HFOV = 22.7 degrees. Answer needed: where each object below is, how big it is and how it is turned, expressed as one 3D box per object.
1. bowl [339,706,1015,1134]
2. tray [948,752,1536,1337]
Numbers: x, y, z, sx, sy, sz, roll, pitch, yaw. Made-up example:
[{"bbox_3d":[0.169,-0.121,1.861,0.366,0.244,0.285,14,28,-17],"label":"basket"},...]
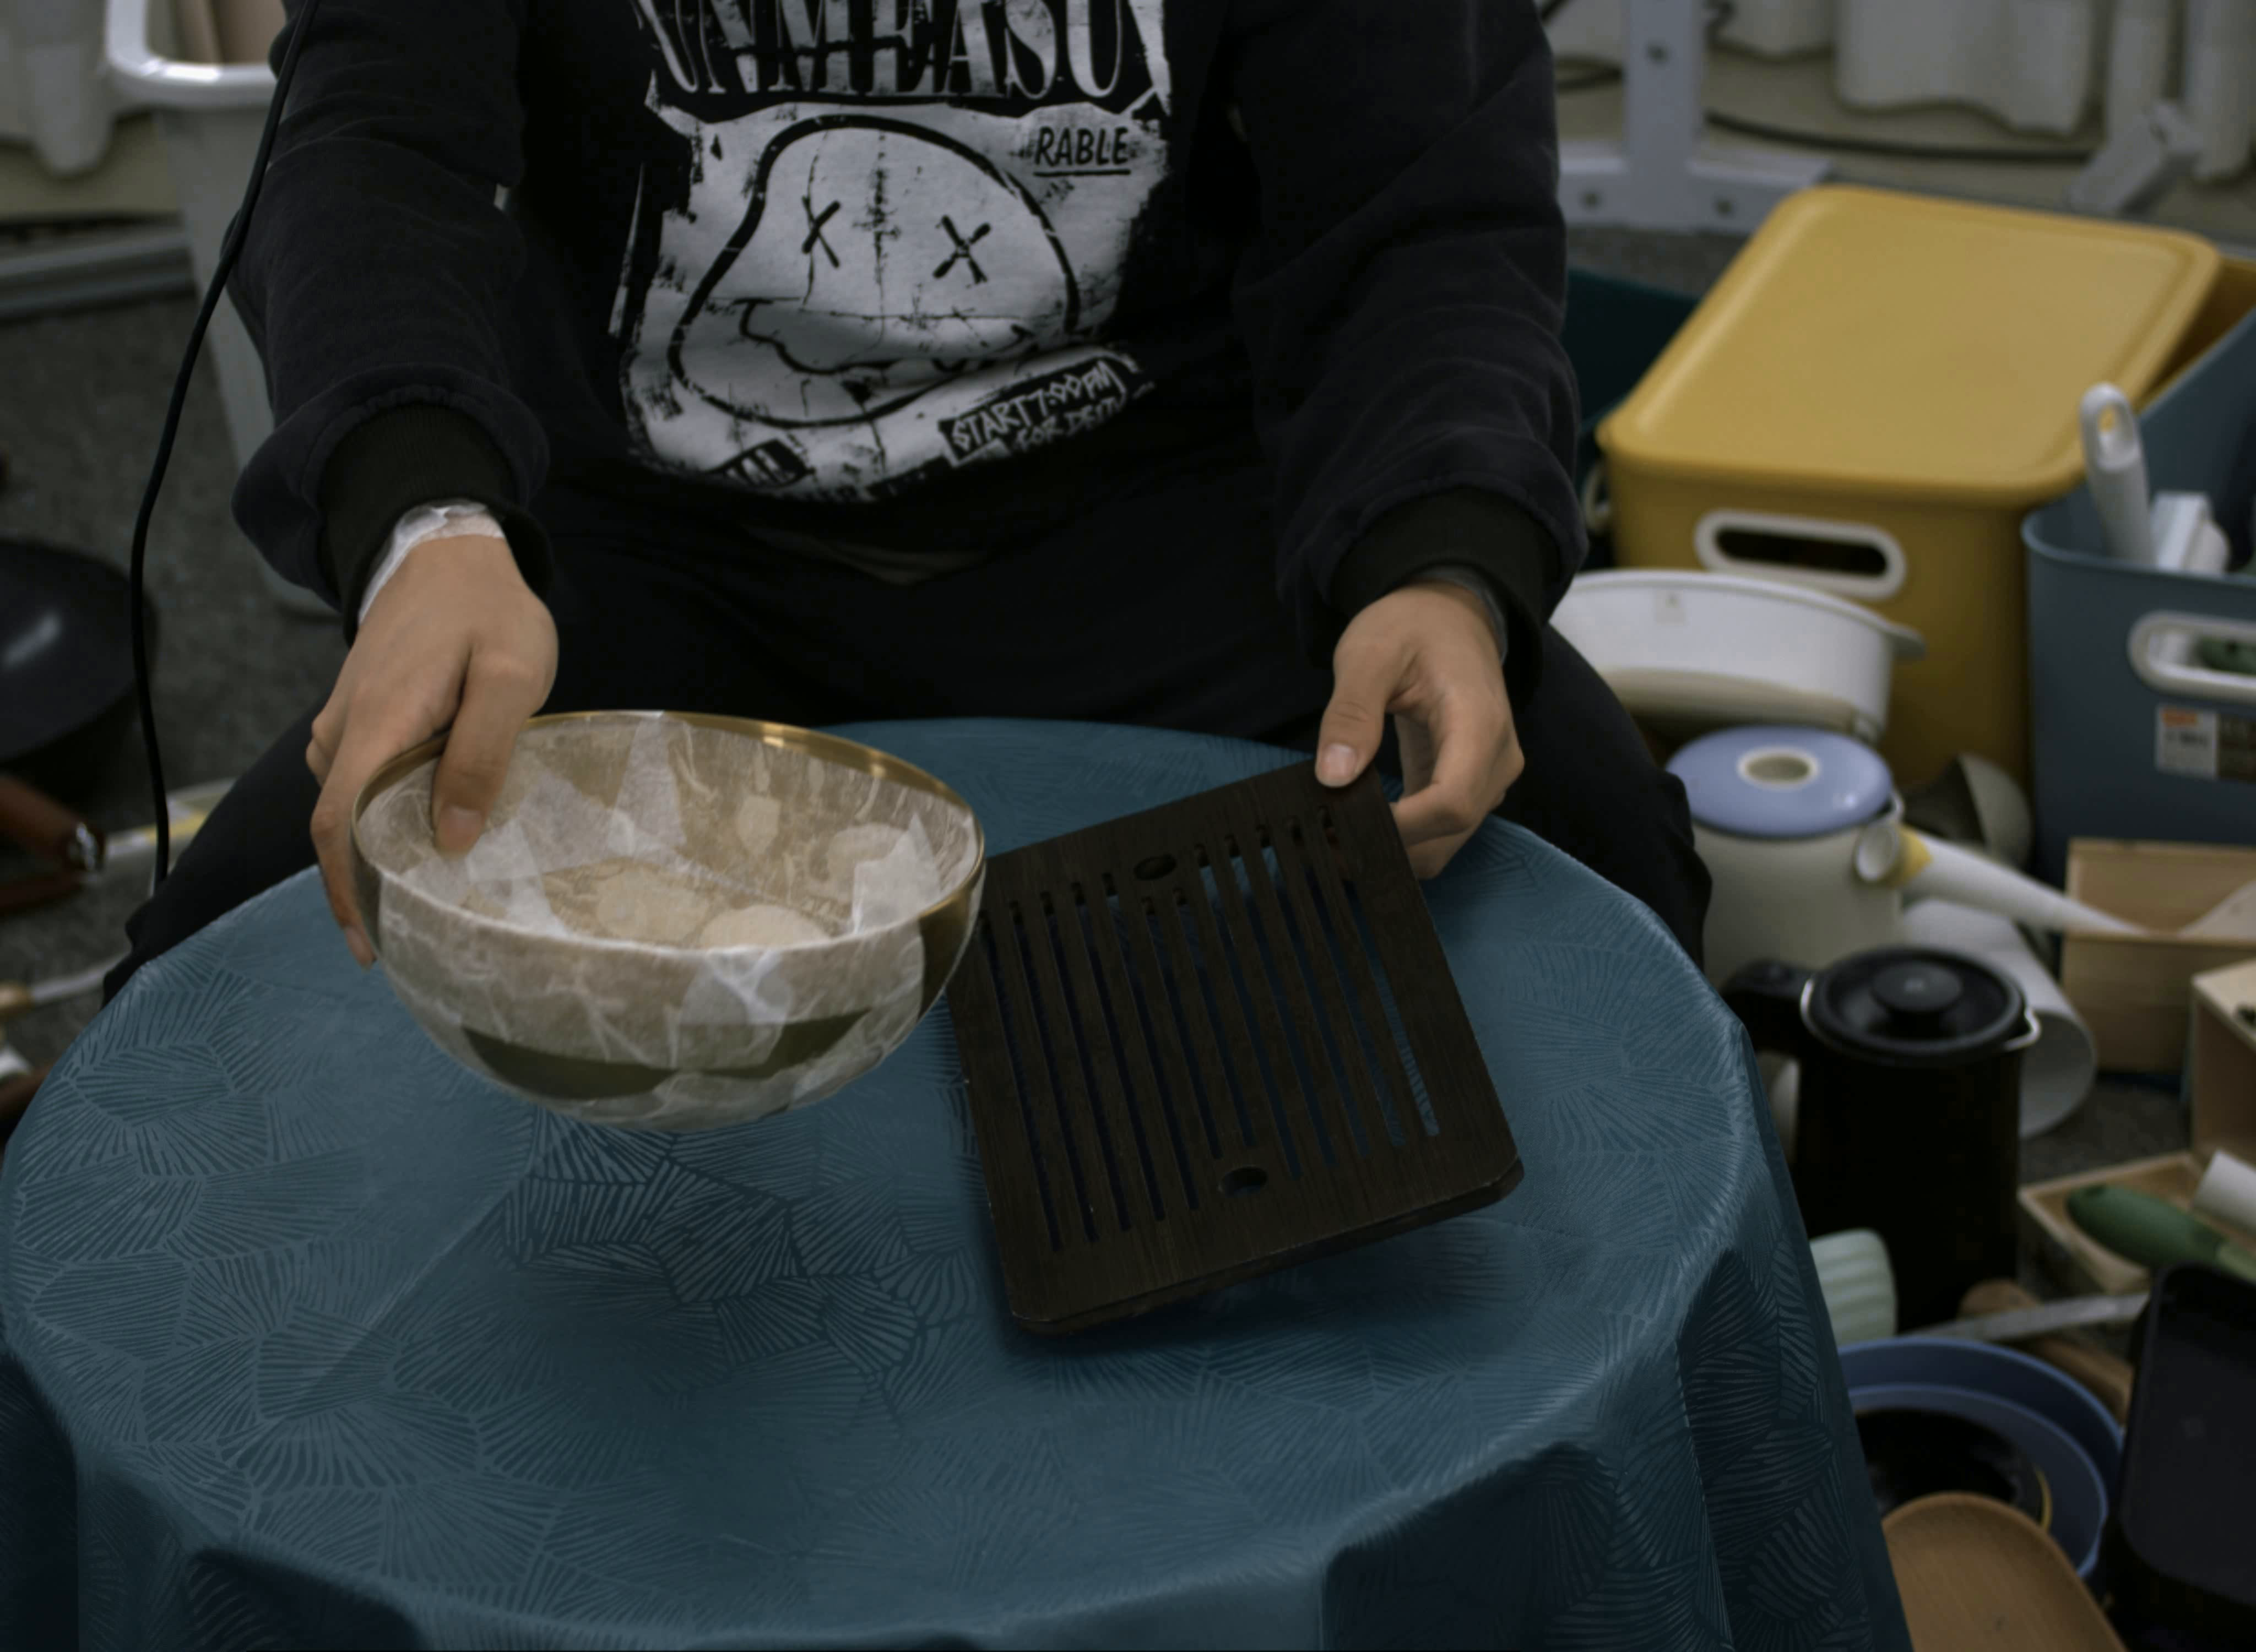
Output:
[{"bbox_3d":[-0.144,0.040,1.775,0.214,0.094,0.217,4,21,-1],"label":"bowl"},{"bbox_3d":[0.031,0.070,1.901,0.169,0.018,0.310,-17,28,1],"label":"tray"}]
